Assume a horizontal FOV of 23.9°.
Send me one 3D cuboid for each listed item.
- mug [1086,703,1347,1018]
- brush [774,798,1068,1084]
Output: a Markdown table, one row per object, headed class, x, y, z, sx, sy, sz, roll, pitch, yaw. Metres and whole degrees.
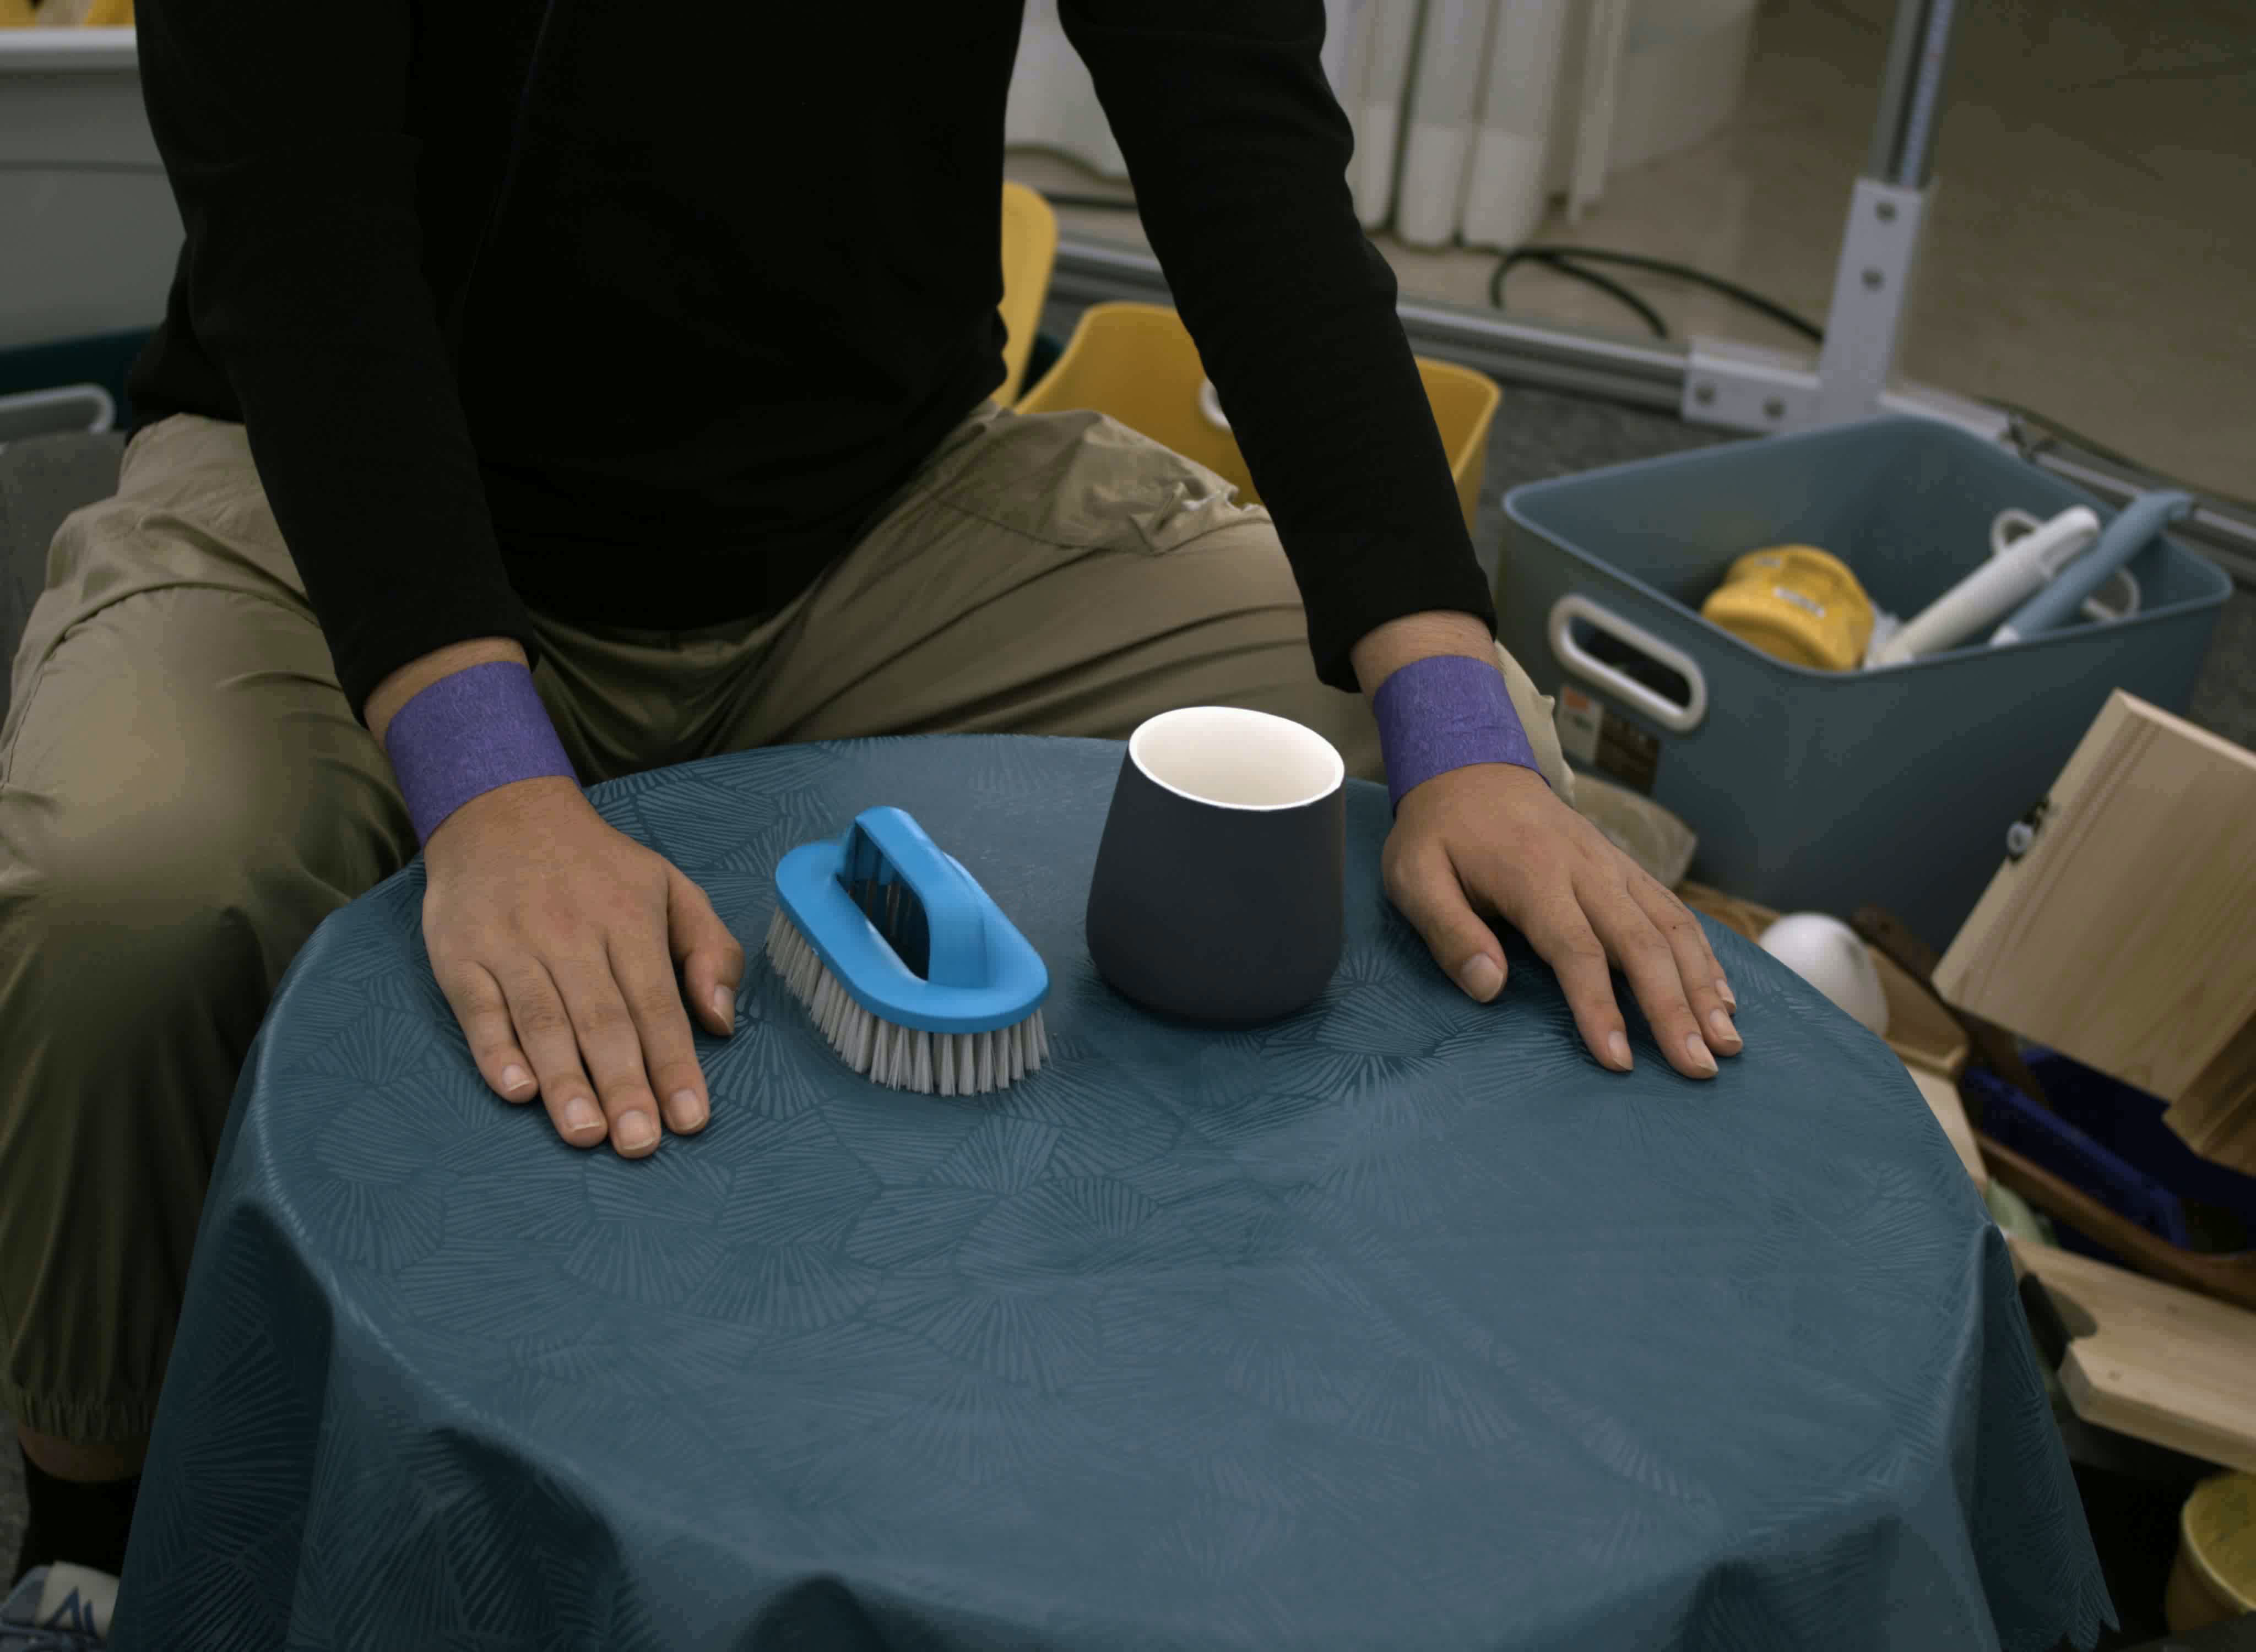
| class | x | y | z | sx | sy | sz | roll | pitch | yaw |
| --- | --- | --- | --- | --- | --- | --- | --- | --- | --- |
| mug | 0.030 | 0.006 | 1.935 | 0.093 | 0.089 | 0.124 | -2 | 30 | -19 |
| brush | -0.076 | 0.032 | 1.891 | 0.084 | 0.063 | 0.143 | -10 | 30 | -21 |
